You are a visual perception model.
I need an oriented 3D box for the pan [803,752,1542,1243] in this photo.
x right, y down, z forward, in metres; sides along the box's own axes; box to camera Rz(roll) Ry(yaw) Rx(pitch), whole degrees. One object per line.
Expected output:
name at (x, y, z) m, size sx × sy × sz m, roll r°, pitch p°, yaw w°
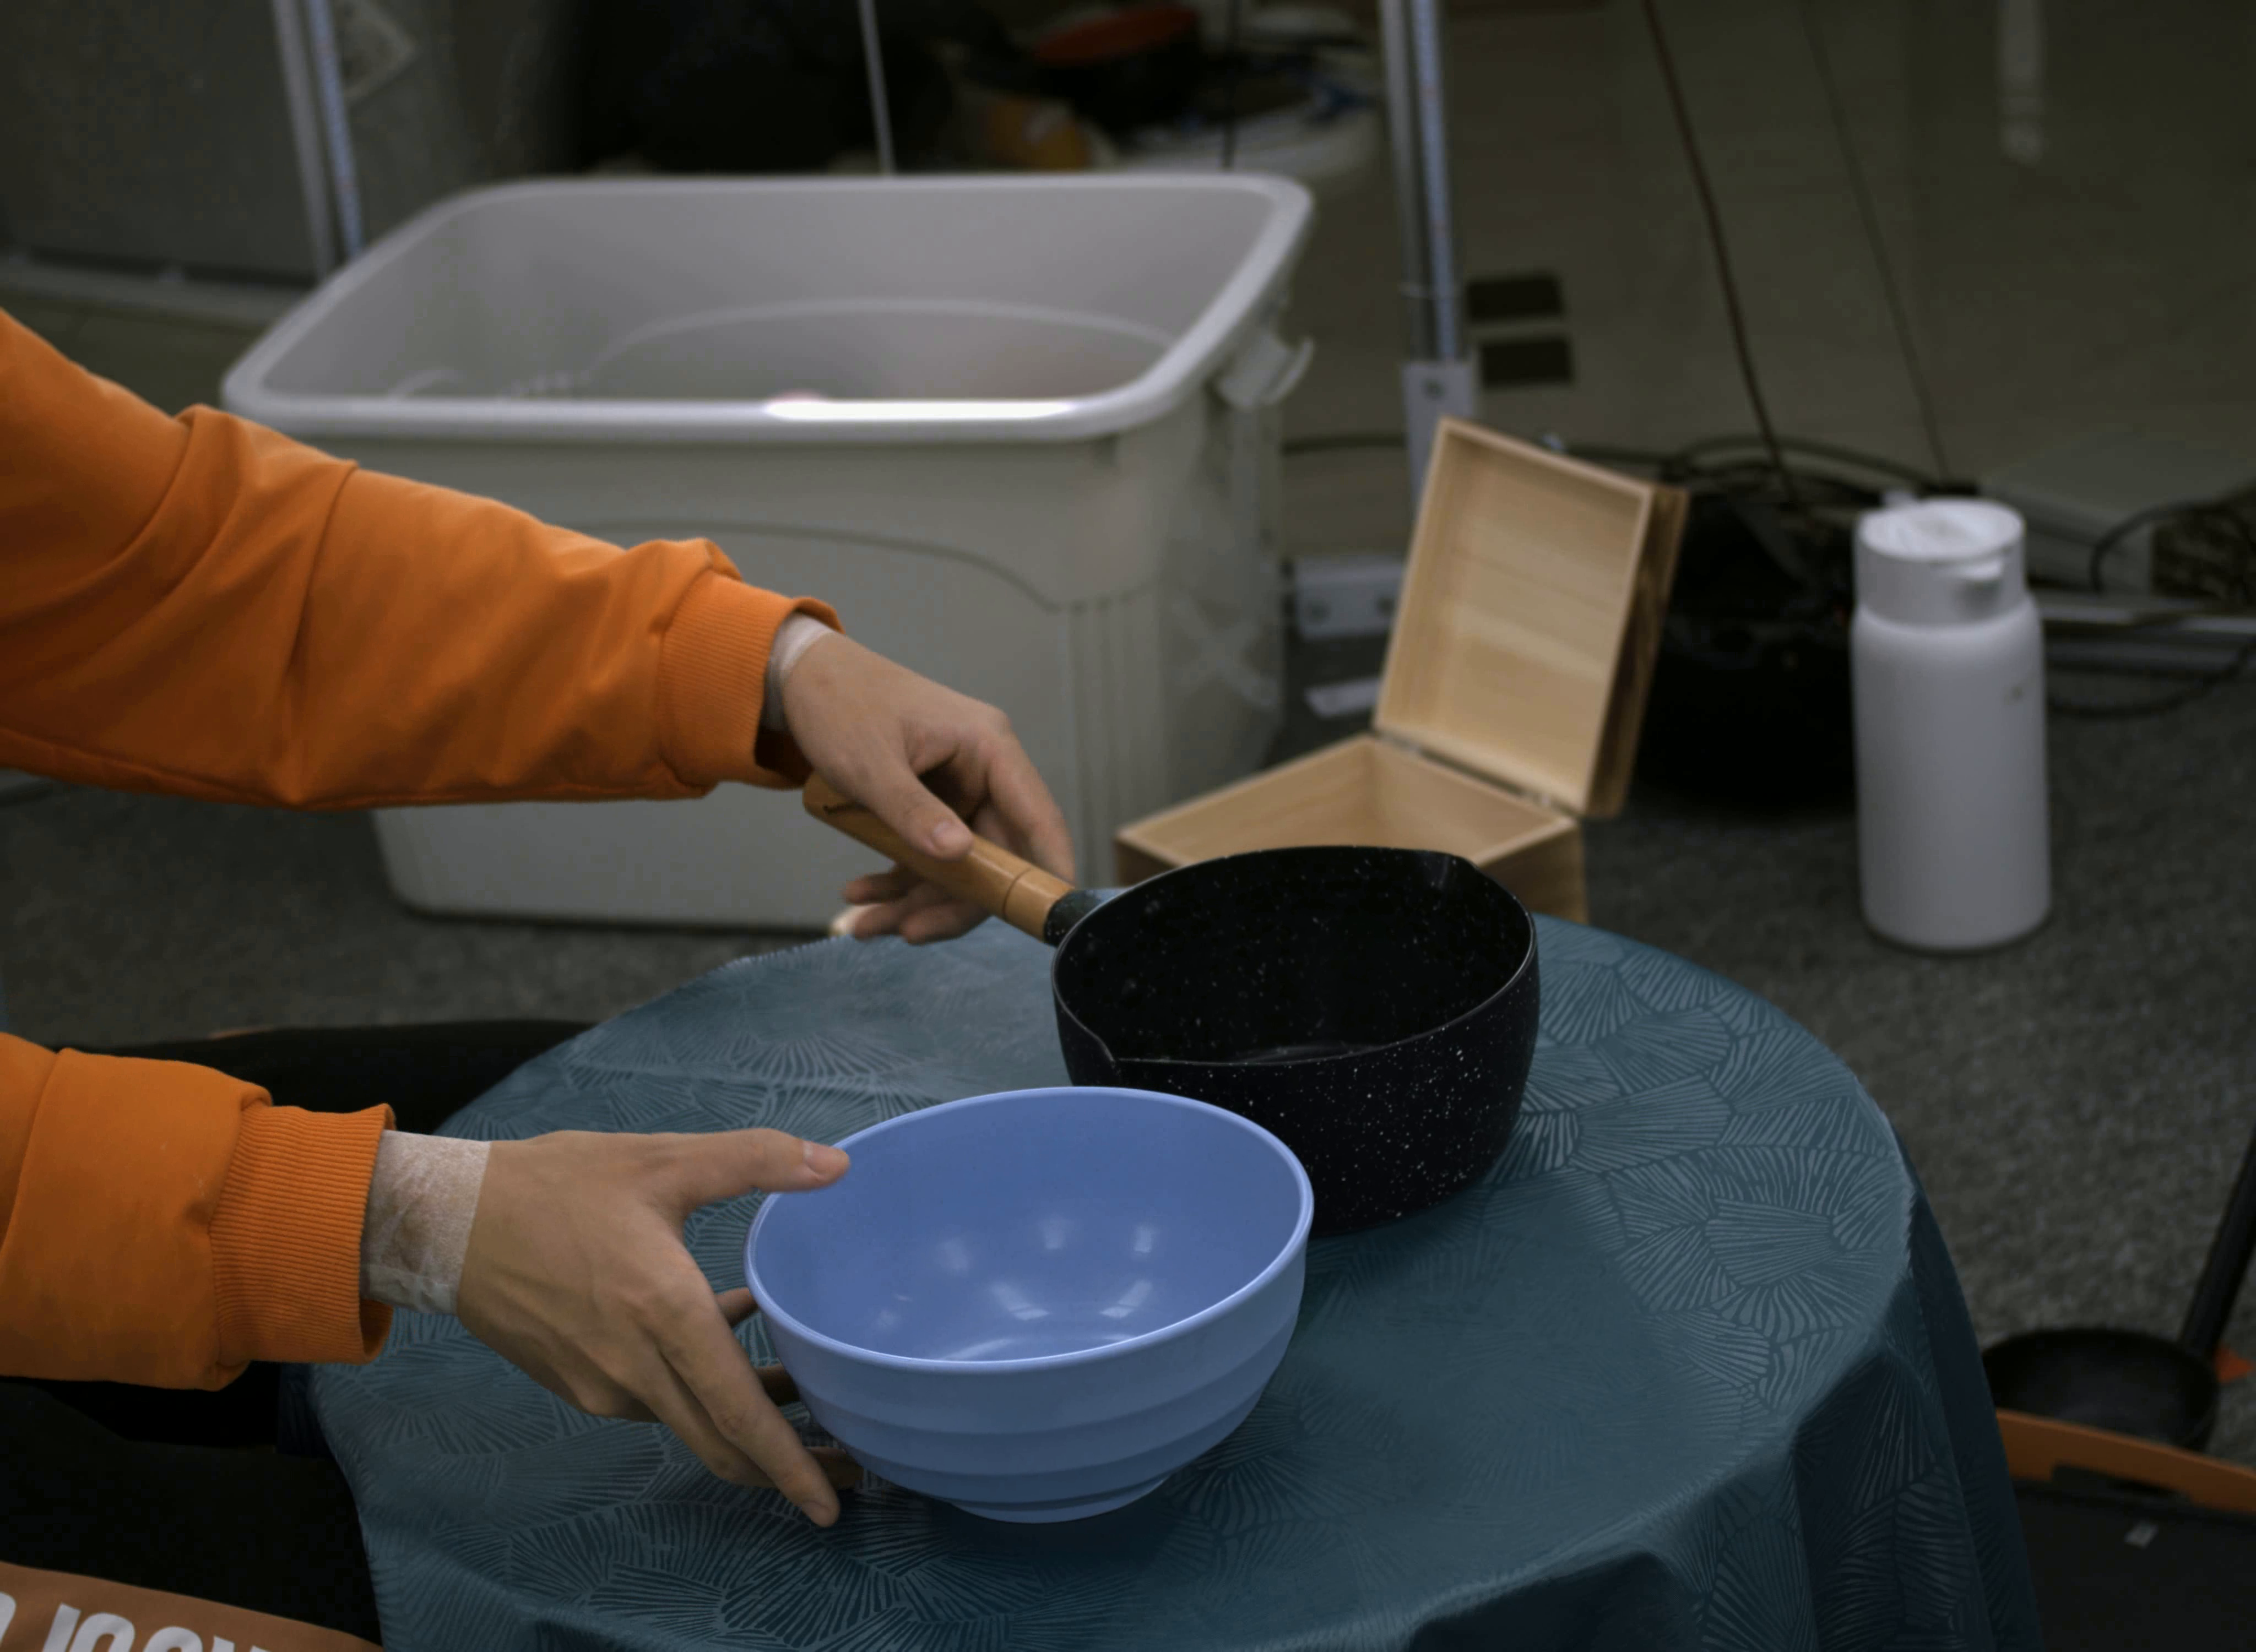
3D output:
pan at (0.005, 0.058, 2.190) m, size 0.340 × 0.110 × 0.205 m, roll 16°, pitch 35°, yaw 37°

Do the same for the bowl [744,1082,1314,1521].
bowl at (-0.030, 0.176, 1.960) m, size 0.196 × 0.097 × 0.193 m, roll -5°, pitch 26°, yaw 2°
